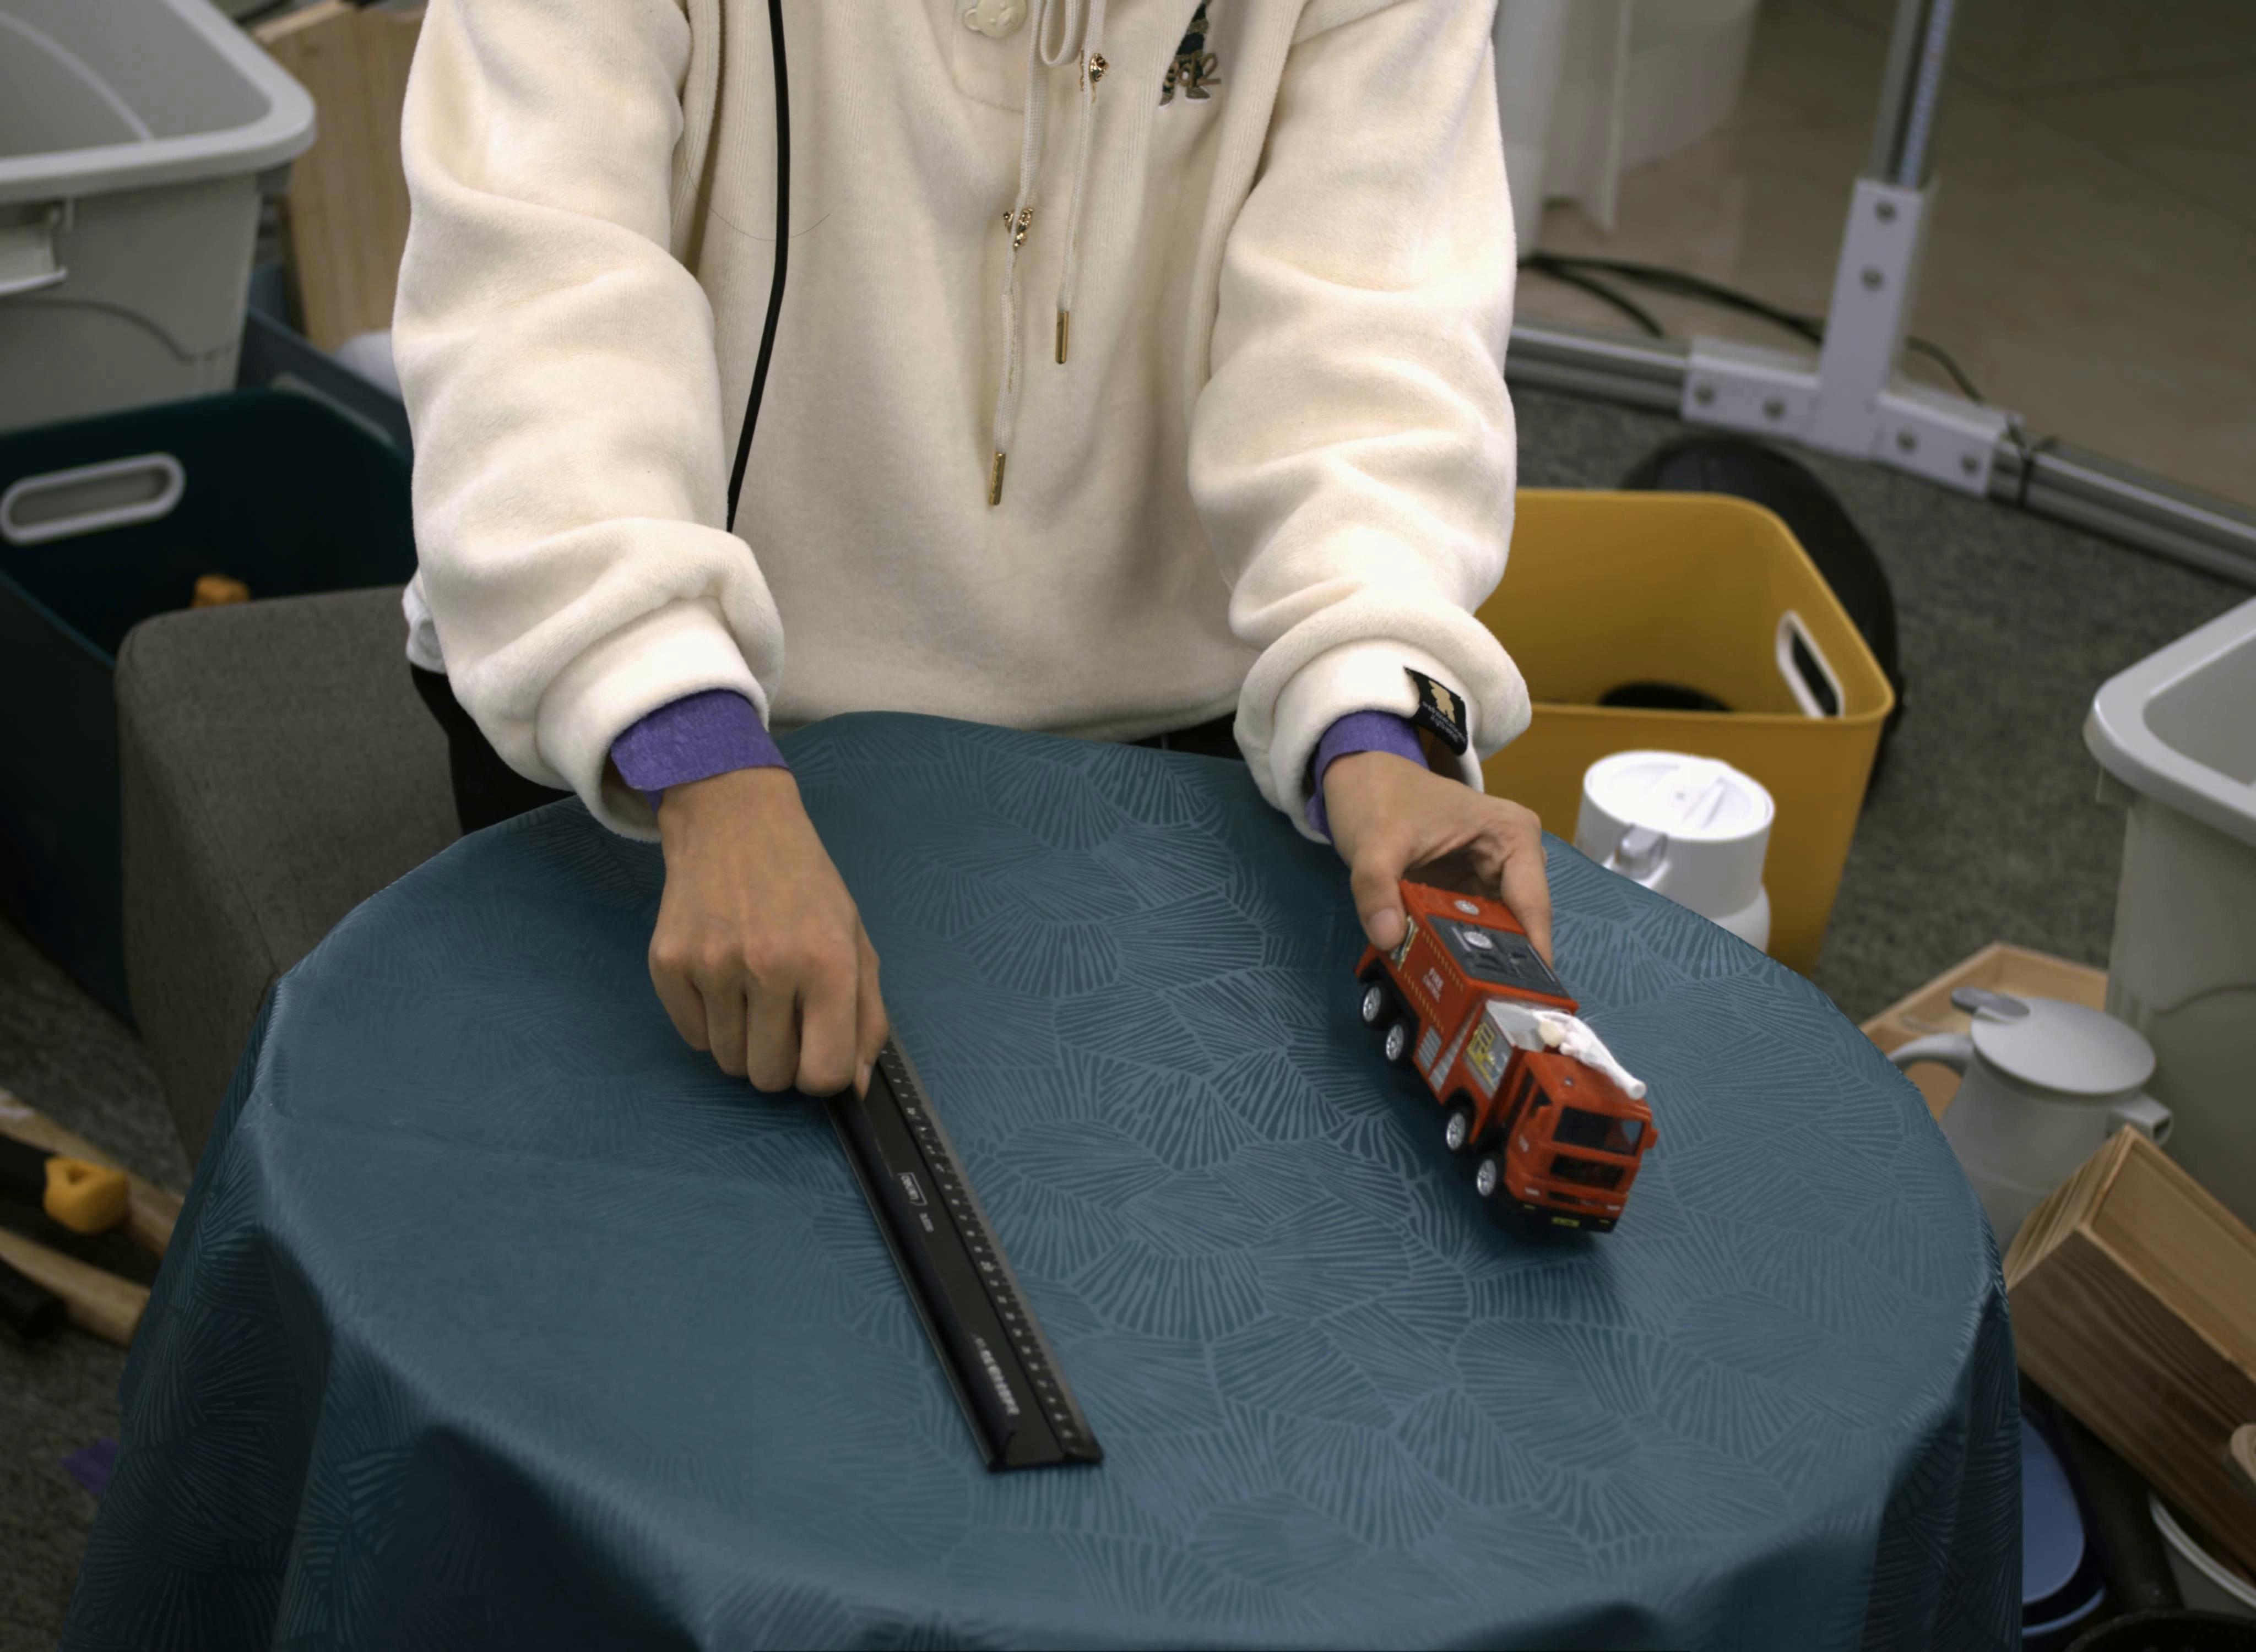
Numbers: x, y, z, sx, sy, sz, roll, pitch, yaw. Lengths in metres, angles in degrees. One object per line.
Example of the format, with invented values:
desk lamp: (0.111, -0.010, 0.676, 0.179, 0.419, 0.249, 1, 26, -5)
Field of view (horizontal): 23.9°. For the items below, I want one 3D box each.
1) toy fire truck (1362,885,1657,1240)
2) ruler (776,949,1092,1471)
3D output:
toy fire truck: (0.131, 0.080, 1.844, 0.053, 0.070, 0.169, 11, 22, -24)
ruler: (-0.067, 0.121, 1.773, 0.039, 0.017, 0.315, 0, 27, -17)
